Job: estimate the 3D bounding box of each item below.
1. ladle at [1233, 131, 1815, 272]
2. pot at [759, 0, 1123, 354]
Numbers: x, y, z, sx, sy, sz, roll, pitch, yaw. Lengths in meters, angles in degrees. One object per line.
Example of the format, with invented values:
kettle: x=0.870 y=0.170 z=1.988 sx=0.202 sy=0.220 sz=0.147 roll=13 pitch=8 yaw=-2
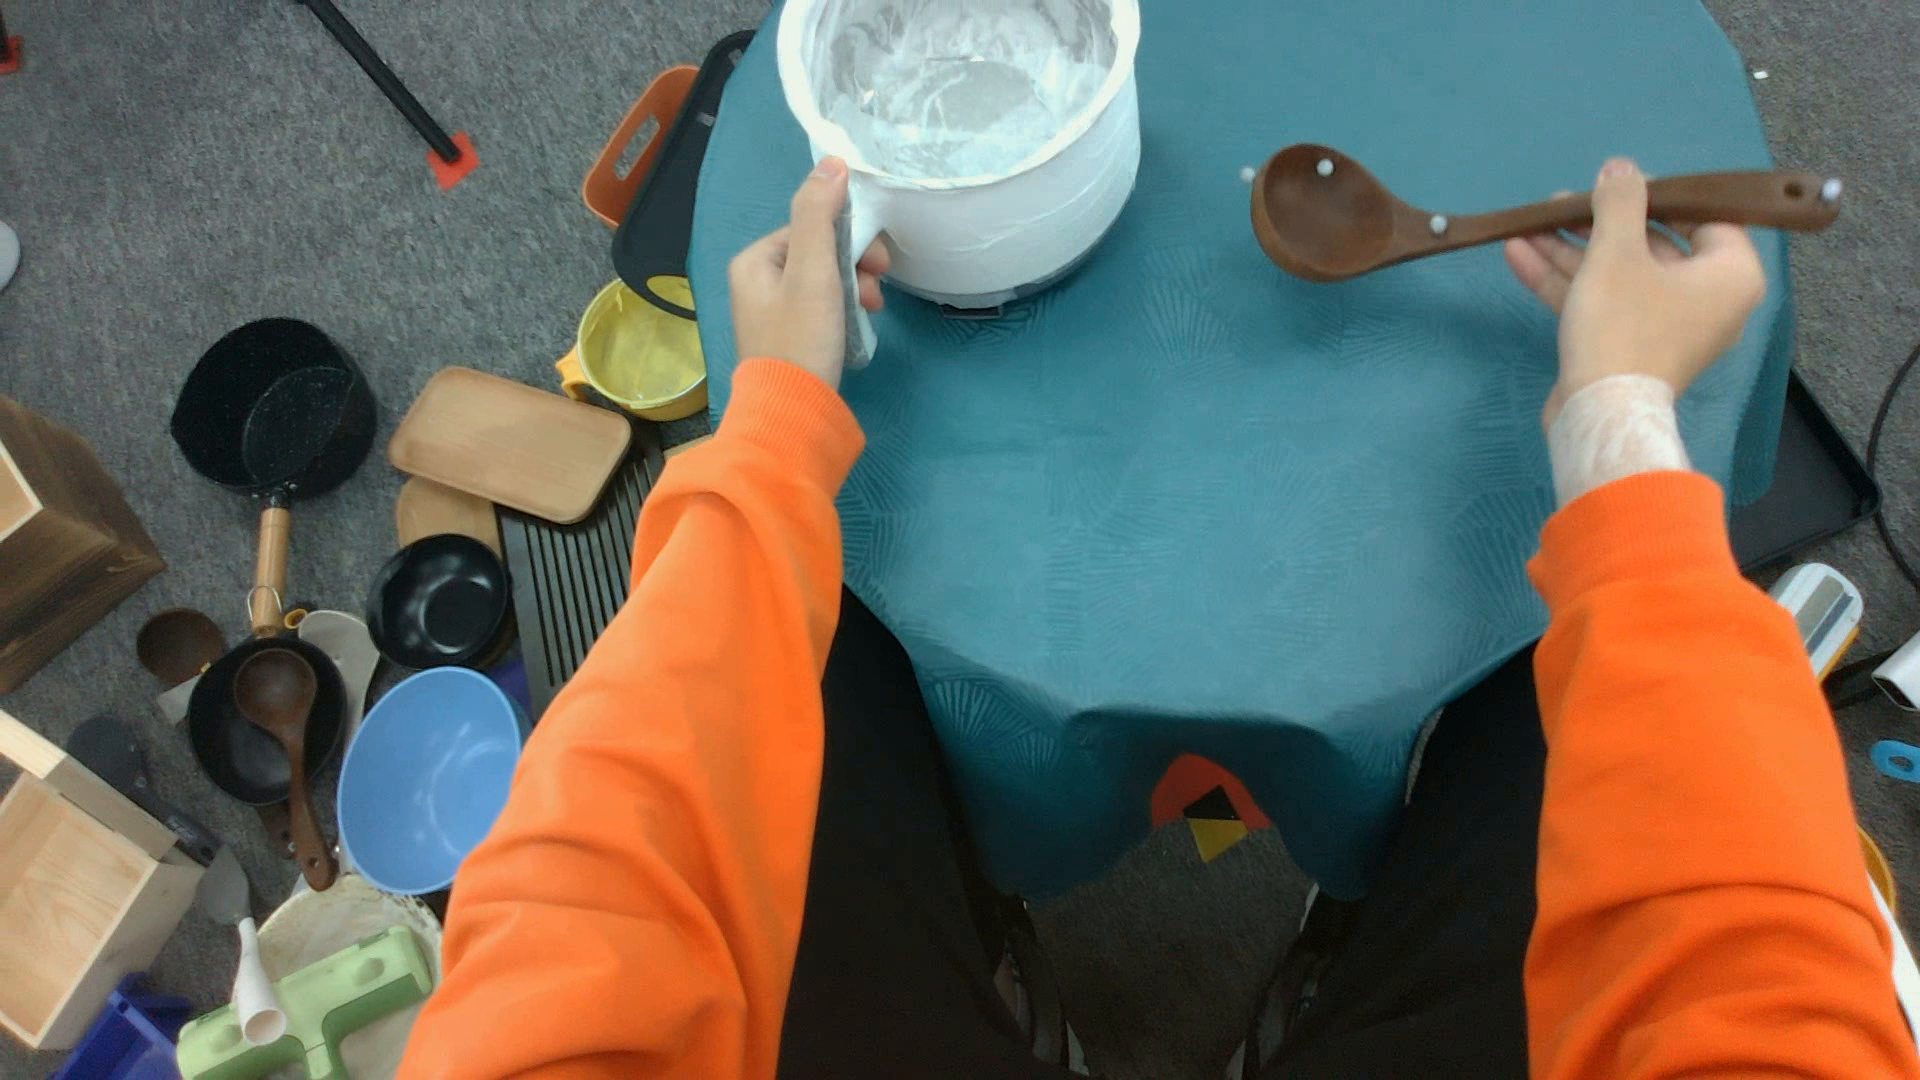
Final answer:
ladle: x=0.262 y=-0.168 z=0.661 sx=0.259 sy=0.065 sz=0.077 roll=2 pitch=70 yaw=26
pot: x=-0.018 y=-0.211 z=0.723 sx=0.178 sy=0.136 sz=0.234 roll=29 pitch=77 yaw=17
